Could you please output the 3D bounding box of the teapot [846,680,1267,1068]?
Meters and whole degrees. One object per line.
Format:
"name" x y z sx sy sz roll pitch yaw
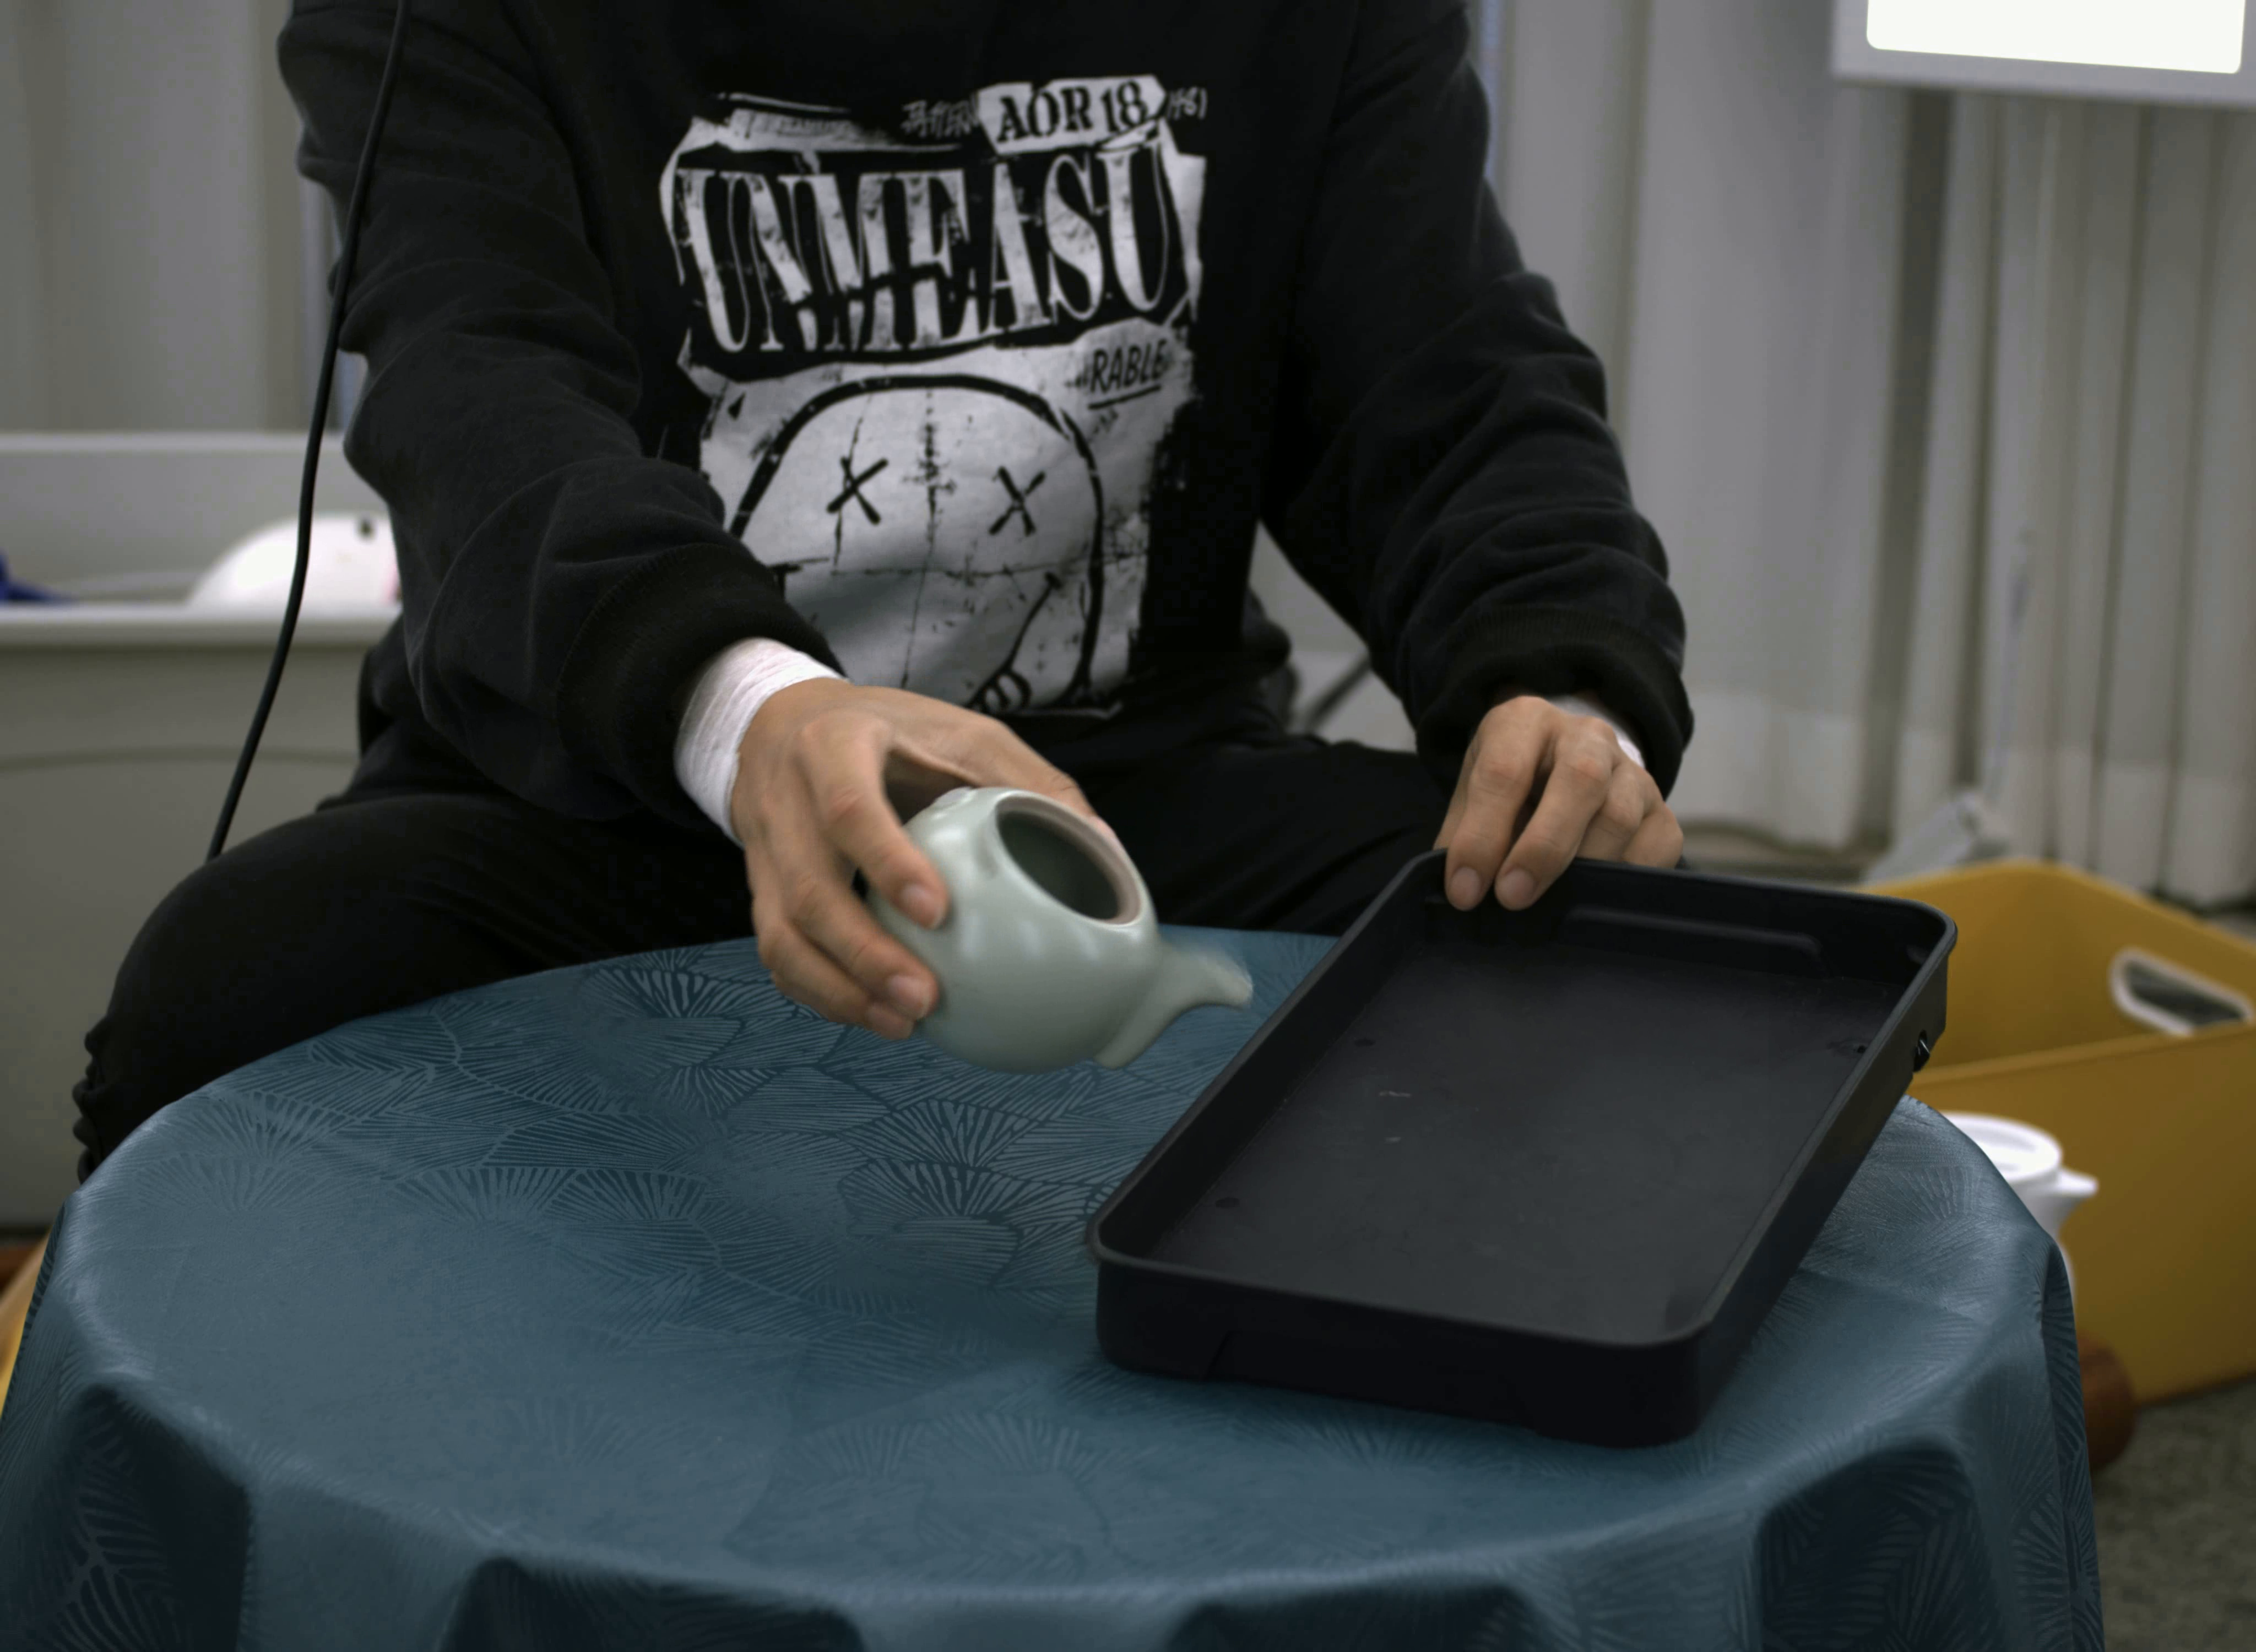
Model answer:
"teapot" -0.031 0.027 1.543 0.144 0.075 0.088 44 24 -2

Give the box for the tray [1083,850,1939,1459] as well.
"tray" 0.121 0.090 1.570 0.182 0.037 0.317 7 24 19
